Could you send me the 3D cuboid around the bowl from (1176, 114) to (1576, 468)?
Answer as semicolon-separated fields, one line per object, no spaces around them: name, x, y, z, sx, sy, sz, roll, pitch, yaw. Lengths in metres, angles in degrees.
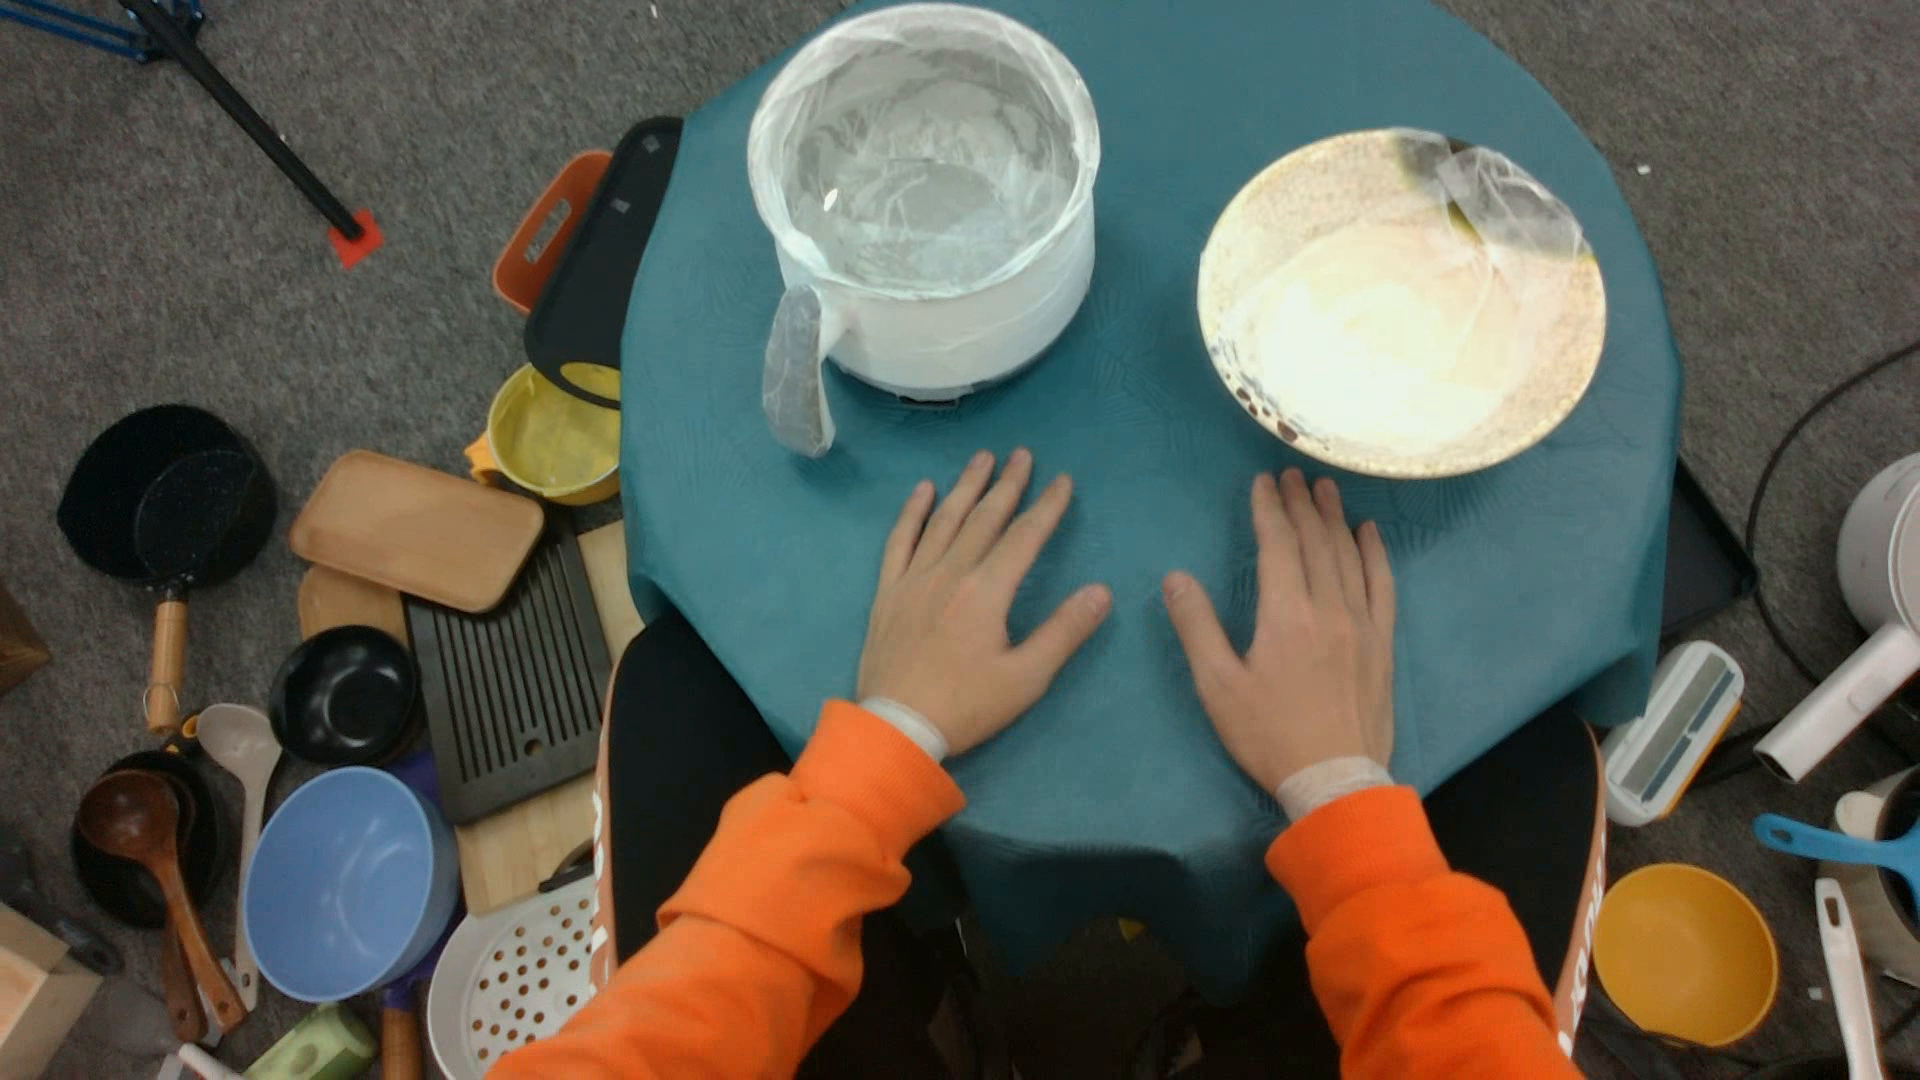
bowl;0.216;-0.122;0.747;0.204;0.078;0.204;-1;72;3

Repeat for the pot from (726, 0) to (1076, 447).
pot;-0.041;-0.161;0.741;0.179;0.136;0.234;30;74;13
